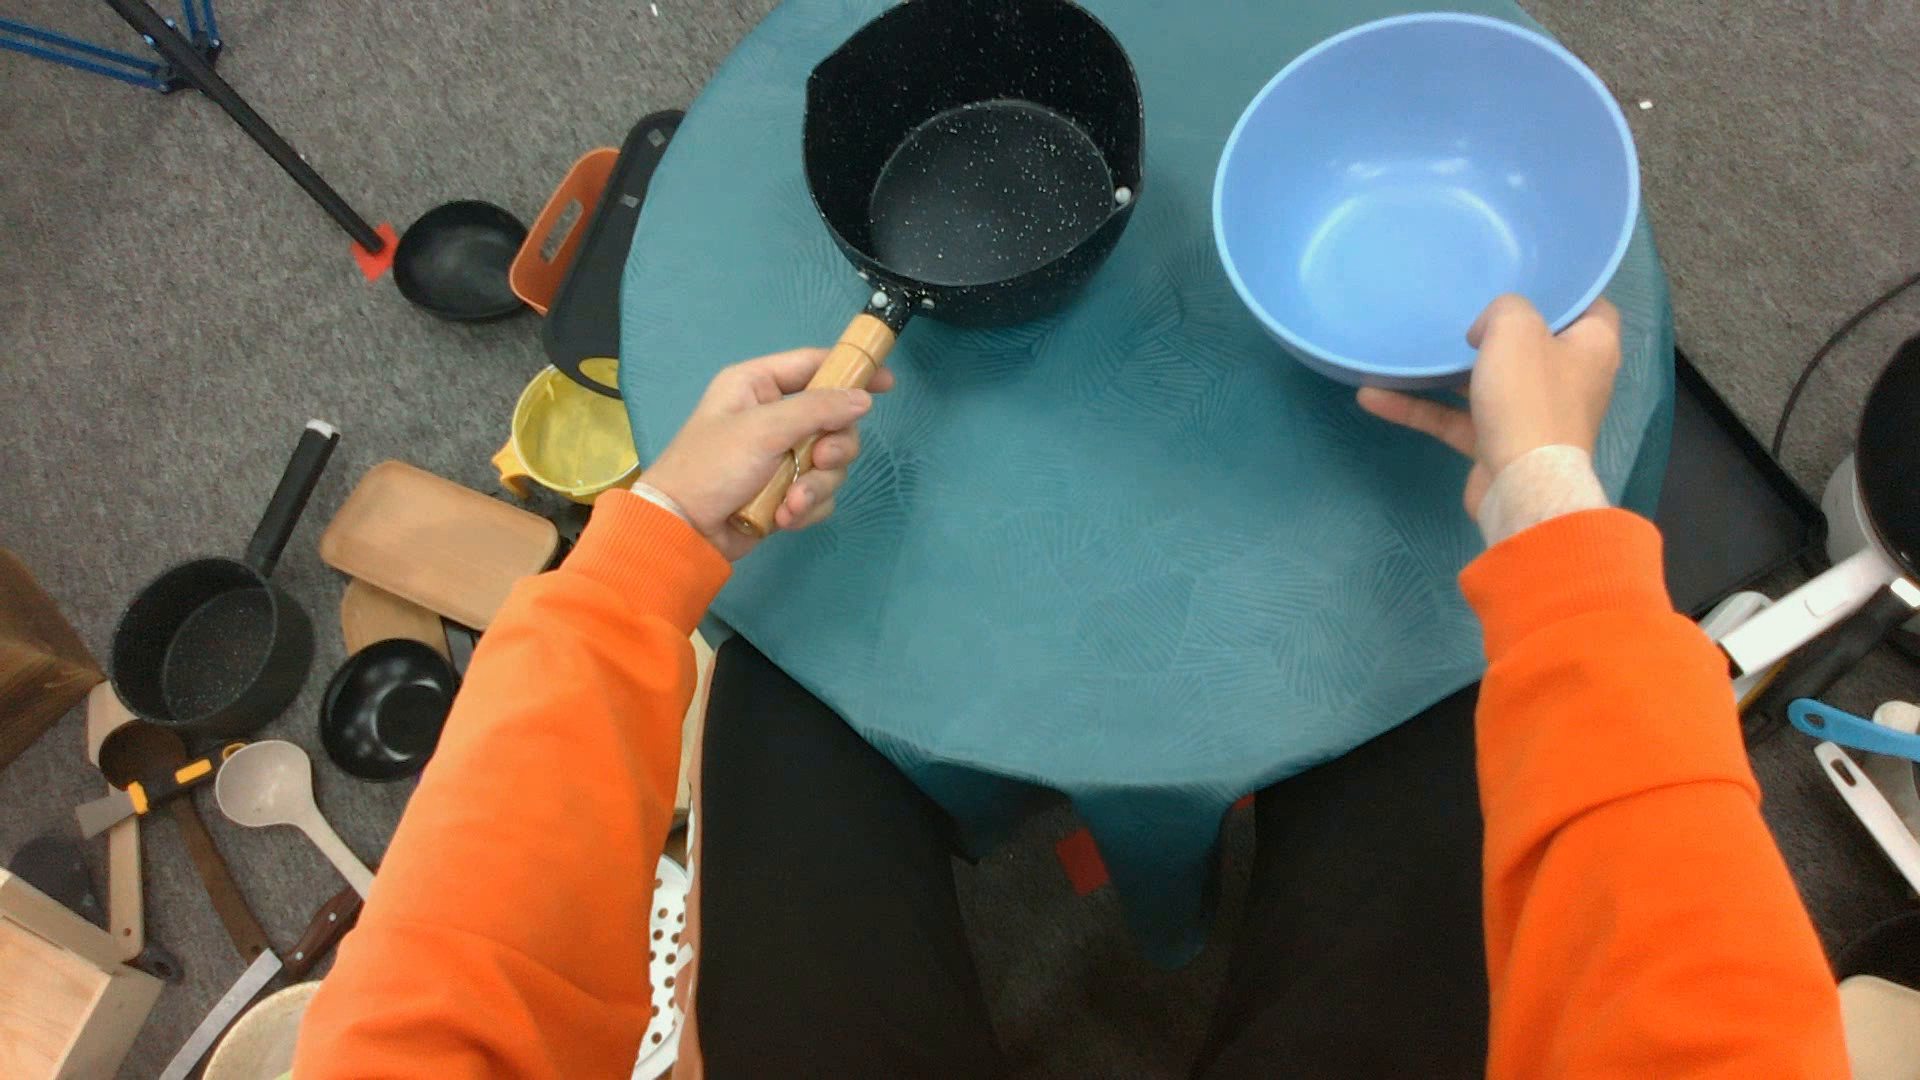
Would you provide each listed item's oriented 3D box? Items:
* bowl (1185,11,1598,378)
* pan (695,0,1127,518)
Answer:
[{"bbox_3d":[0.218,-0.165,0.722,0.196,0.095,0.197,-3,71,10],"label":"bowl"},{"bbox_3d":[-0.035,-0.147,0.744,0.207,0.108,0.343,23,76,13],"label":"pan"}]
